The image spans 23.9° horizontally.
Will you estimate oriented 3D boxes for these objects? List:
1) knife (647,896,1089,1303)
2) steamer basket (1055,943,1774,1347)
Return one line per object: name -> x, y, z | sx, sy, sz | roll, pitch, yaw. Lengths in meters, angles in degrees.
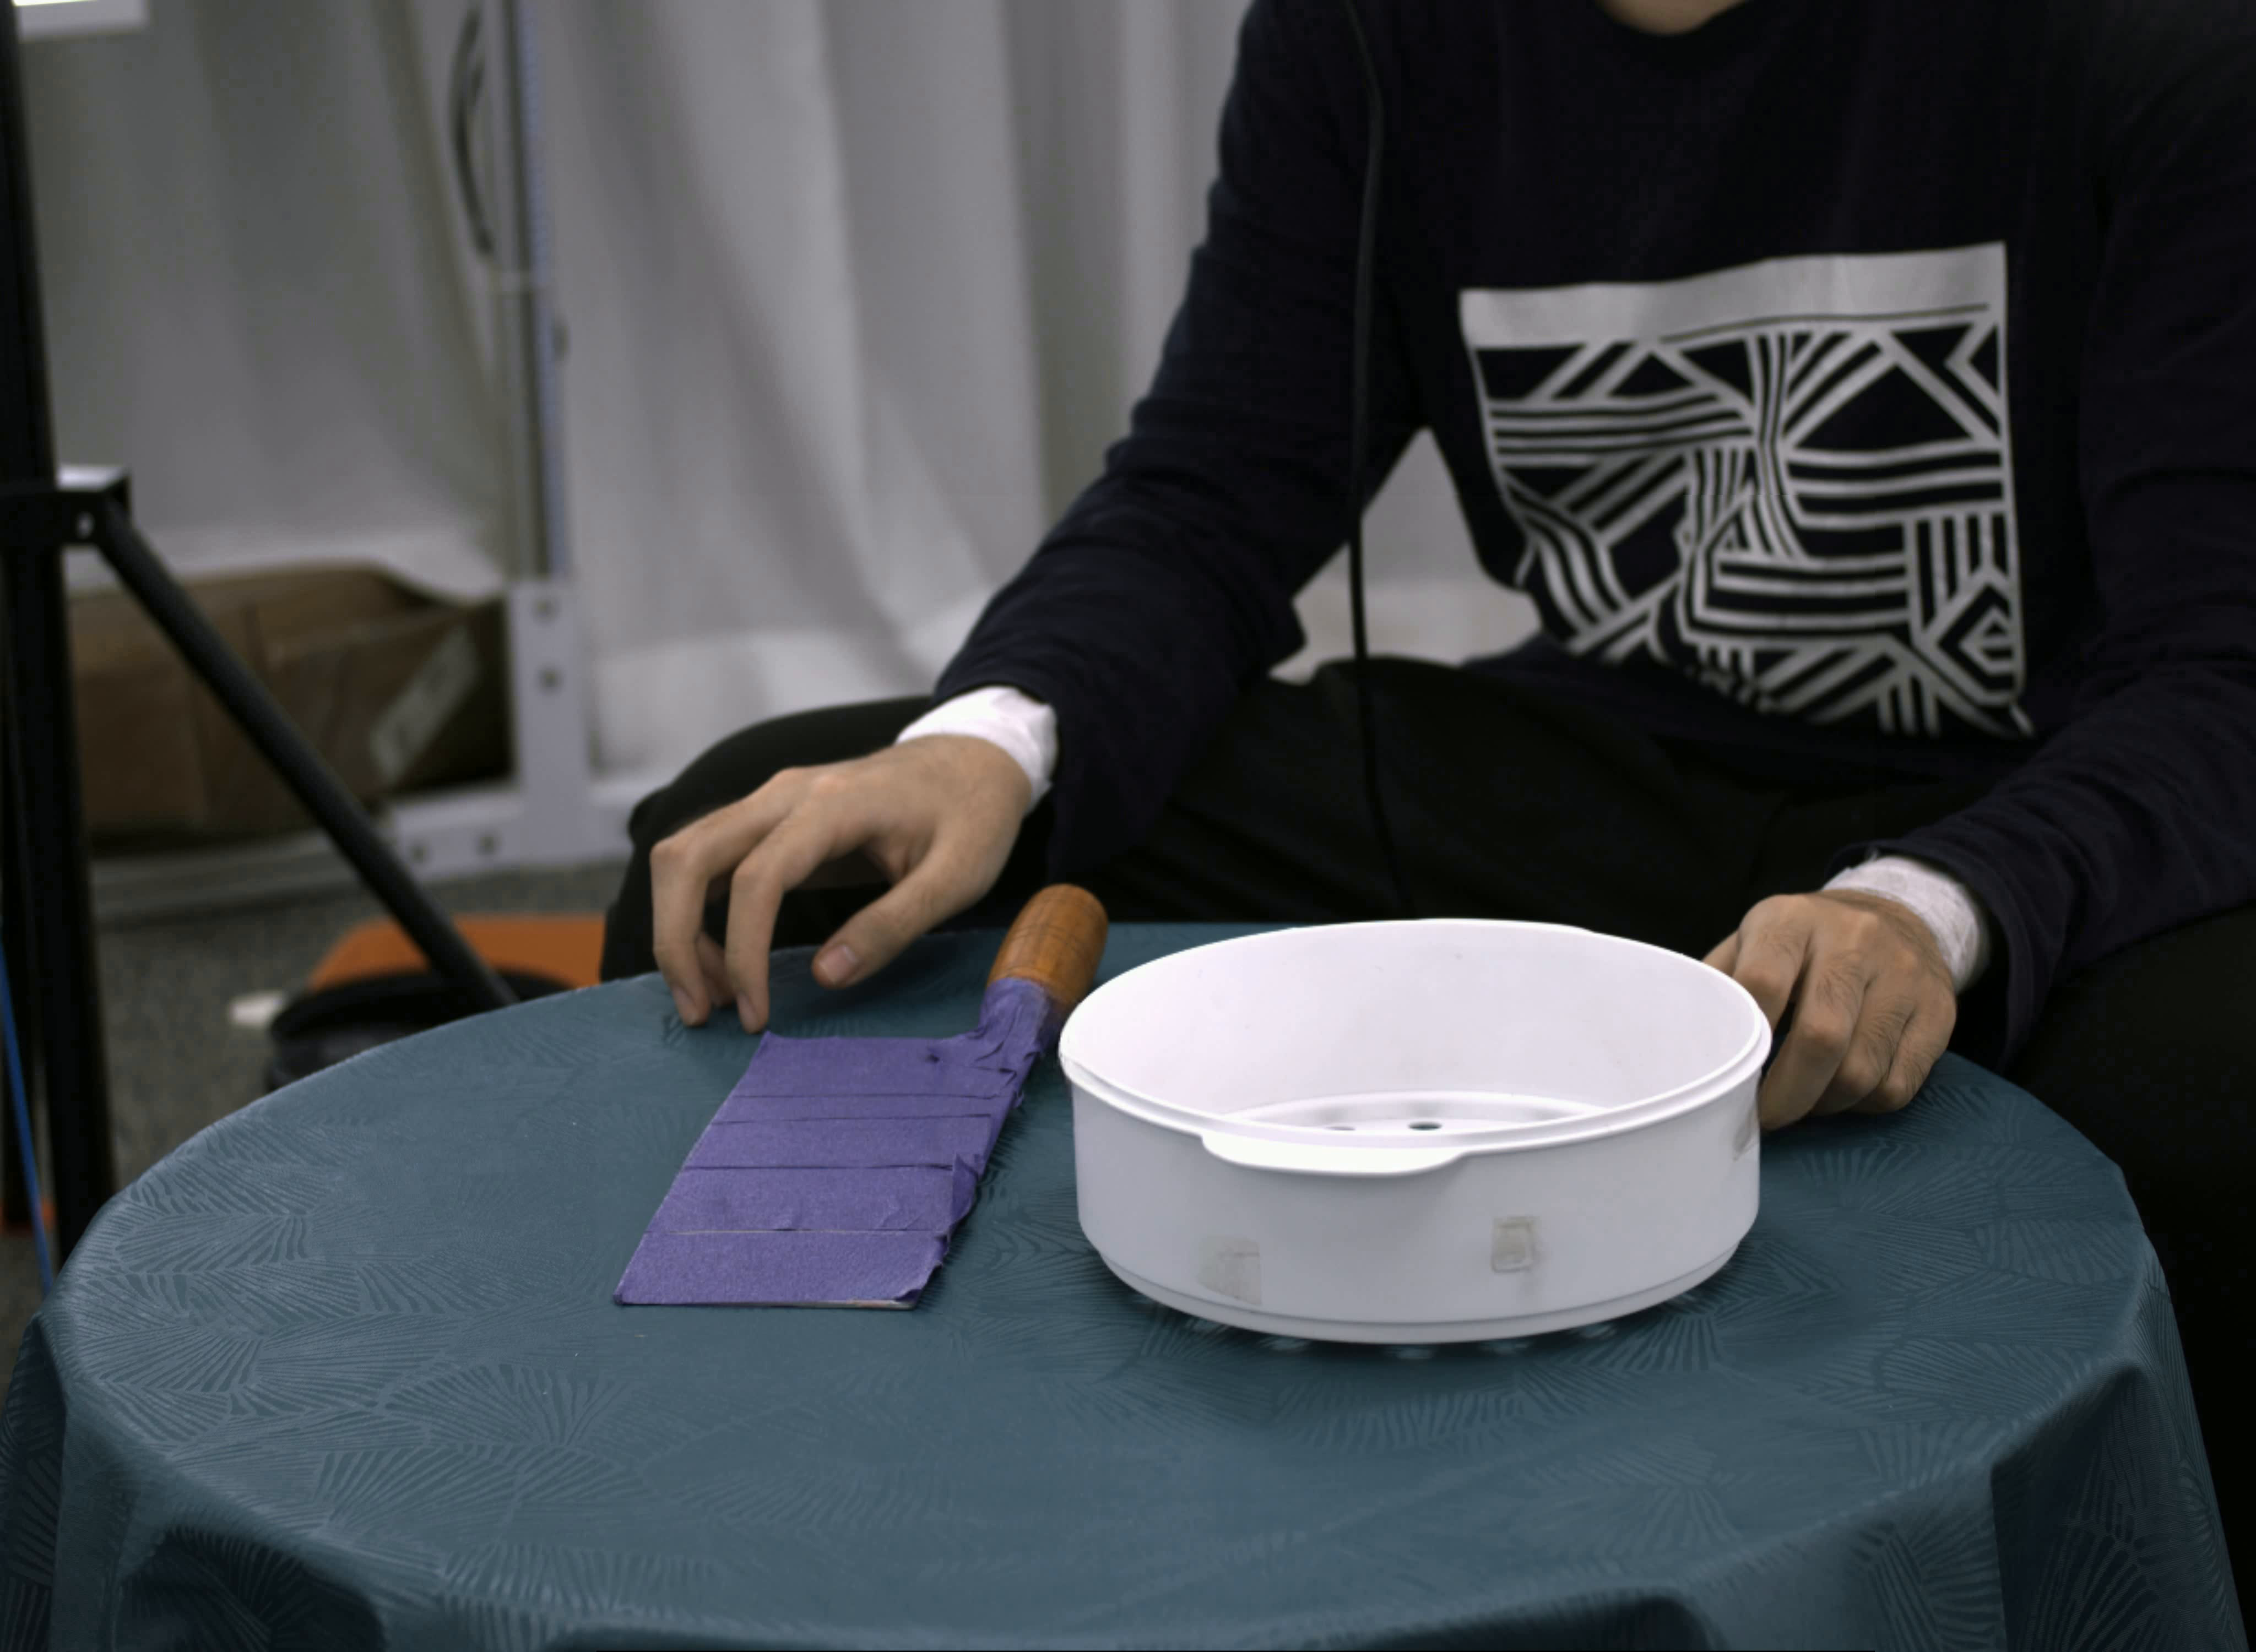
knife -> -0.077, 0.080, 1.624 | 0.104, 0.032, 0.314 | 0, 16, 9
steamer basket -> 0.080, 0.090, 1.496 | 0.204, 0.069, 0.228 | 4, 14, 17
